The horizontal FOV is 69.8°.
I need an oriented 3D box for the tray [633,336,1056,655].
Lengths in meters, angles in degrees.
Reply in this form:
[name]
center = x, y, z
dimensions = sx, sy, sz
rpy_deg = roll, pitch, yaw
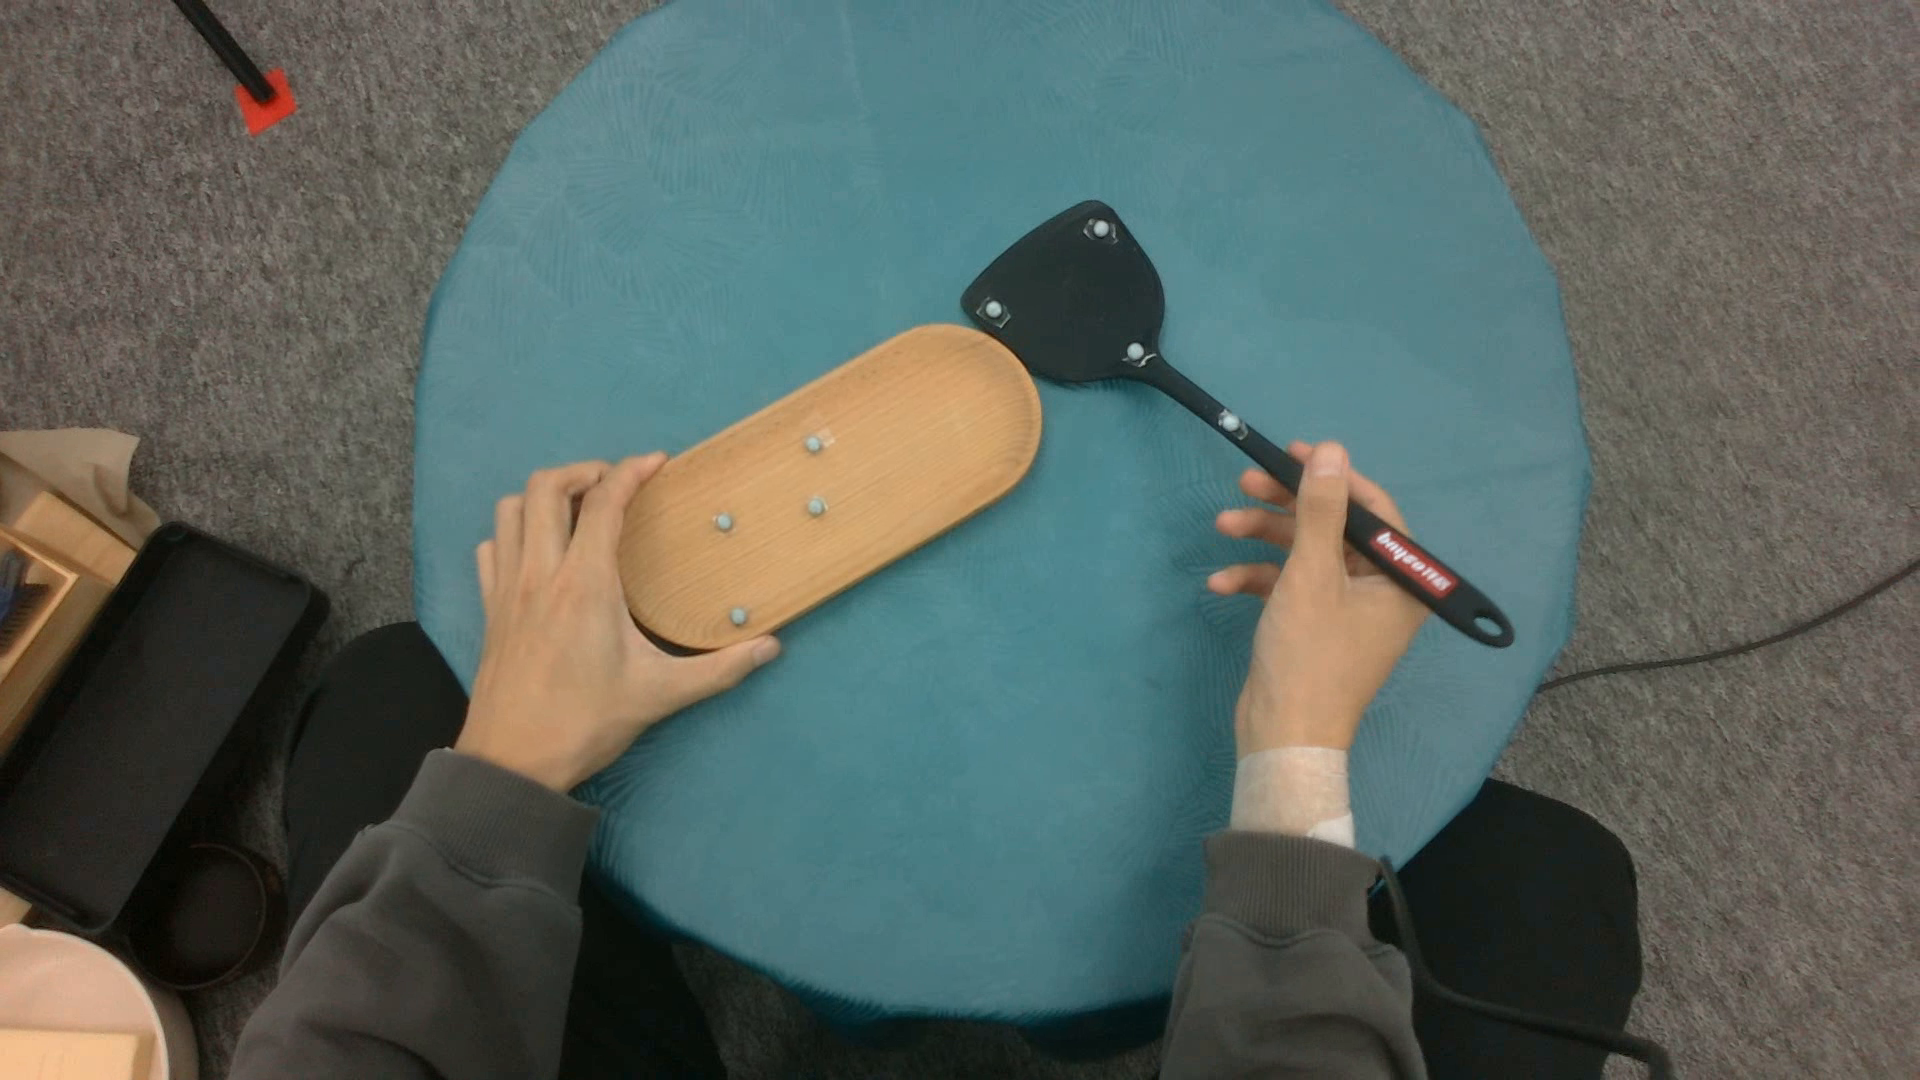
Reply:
[tray]
center = -0.057, -0.024, 0.703
dimensions = 0.231, 0.020, 0.102
rpy_deg = -30, 76, -10

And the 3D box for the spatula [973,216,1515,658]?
[spatula]
center = 0.135, -0.052, 0.664
dimensions = 0.100, 0.040, 0.326
rpy_deg = -39, 52, -8
